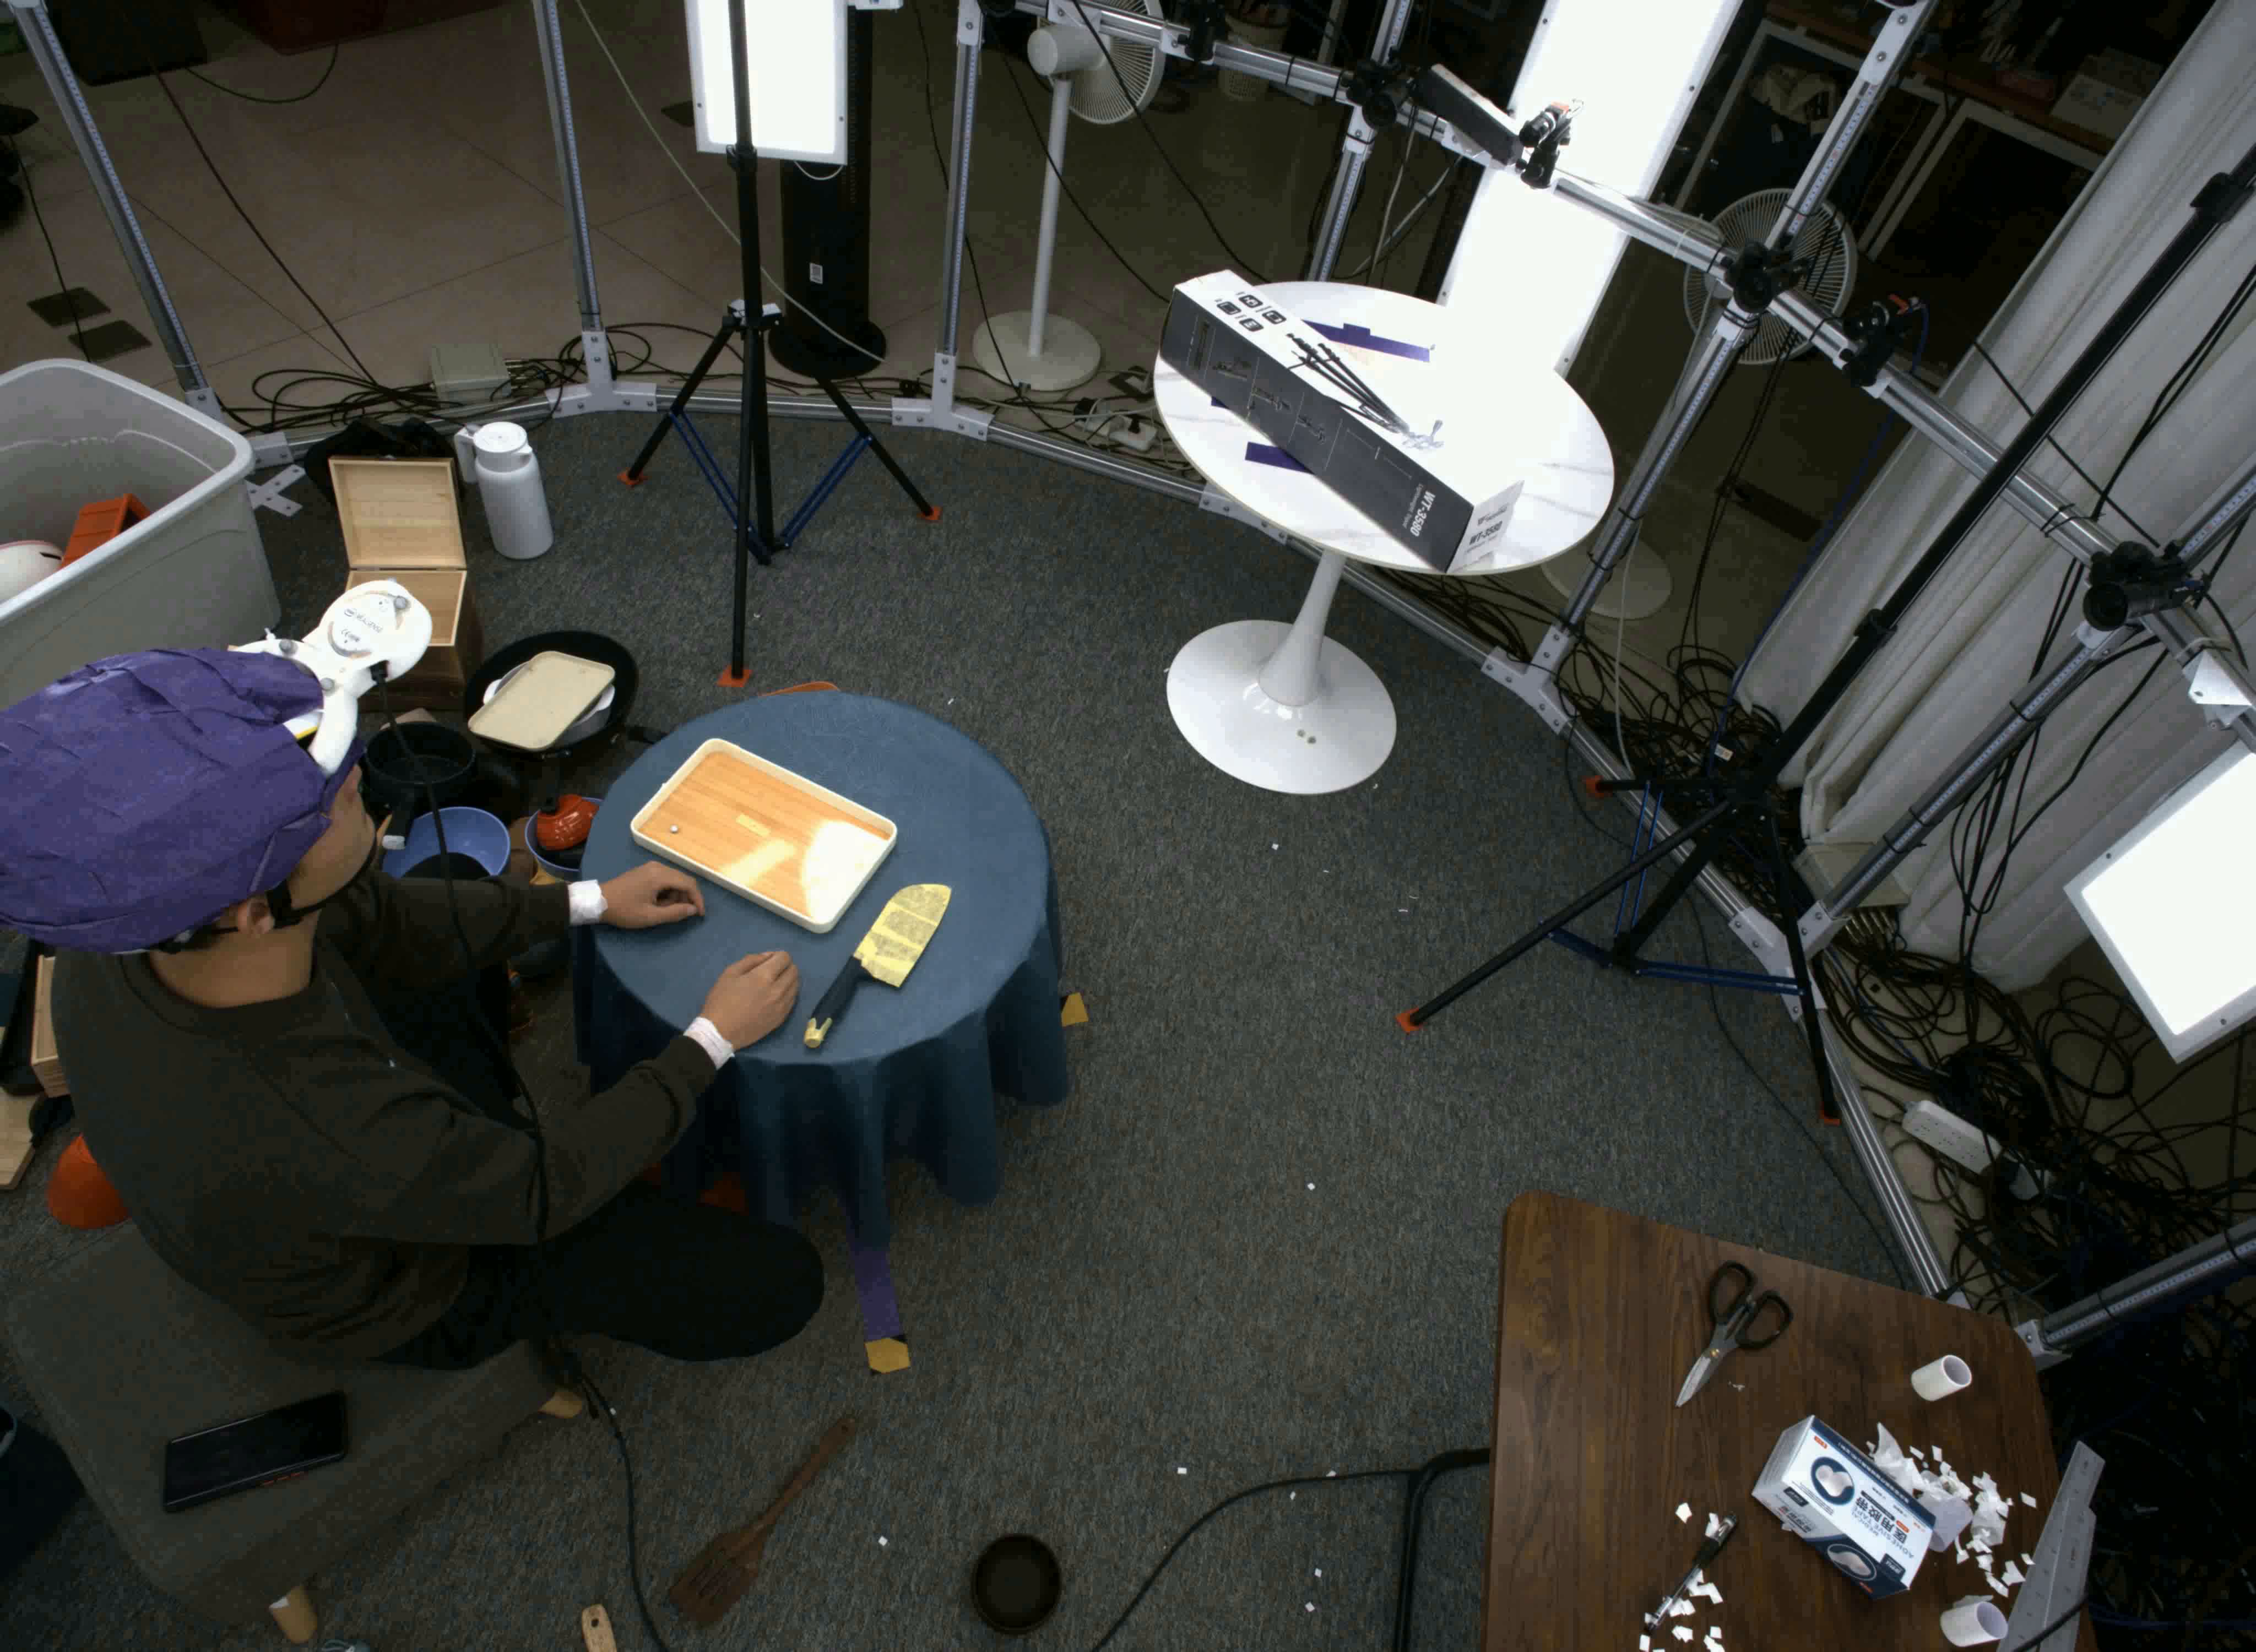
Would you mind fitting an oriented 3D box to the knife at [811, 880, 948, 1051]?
[{"bbox_3d":[-0.308,0.168,1.631,0.080,0.028,0.287,25,51,7],"label":"knife"}]

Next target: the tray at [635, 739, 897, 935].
[{"bbox_3d":[-0.474,0.009,1.699,0.296,0.028,0.190,25,53,5],"label":"tray"}]
